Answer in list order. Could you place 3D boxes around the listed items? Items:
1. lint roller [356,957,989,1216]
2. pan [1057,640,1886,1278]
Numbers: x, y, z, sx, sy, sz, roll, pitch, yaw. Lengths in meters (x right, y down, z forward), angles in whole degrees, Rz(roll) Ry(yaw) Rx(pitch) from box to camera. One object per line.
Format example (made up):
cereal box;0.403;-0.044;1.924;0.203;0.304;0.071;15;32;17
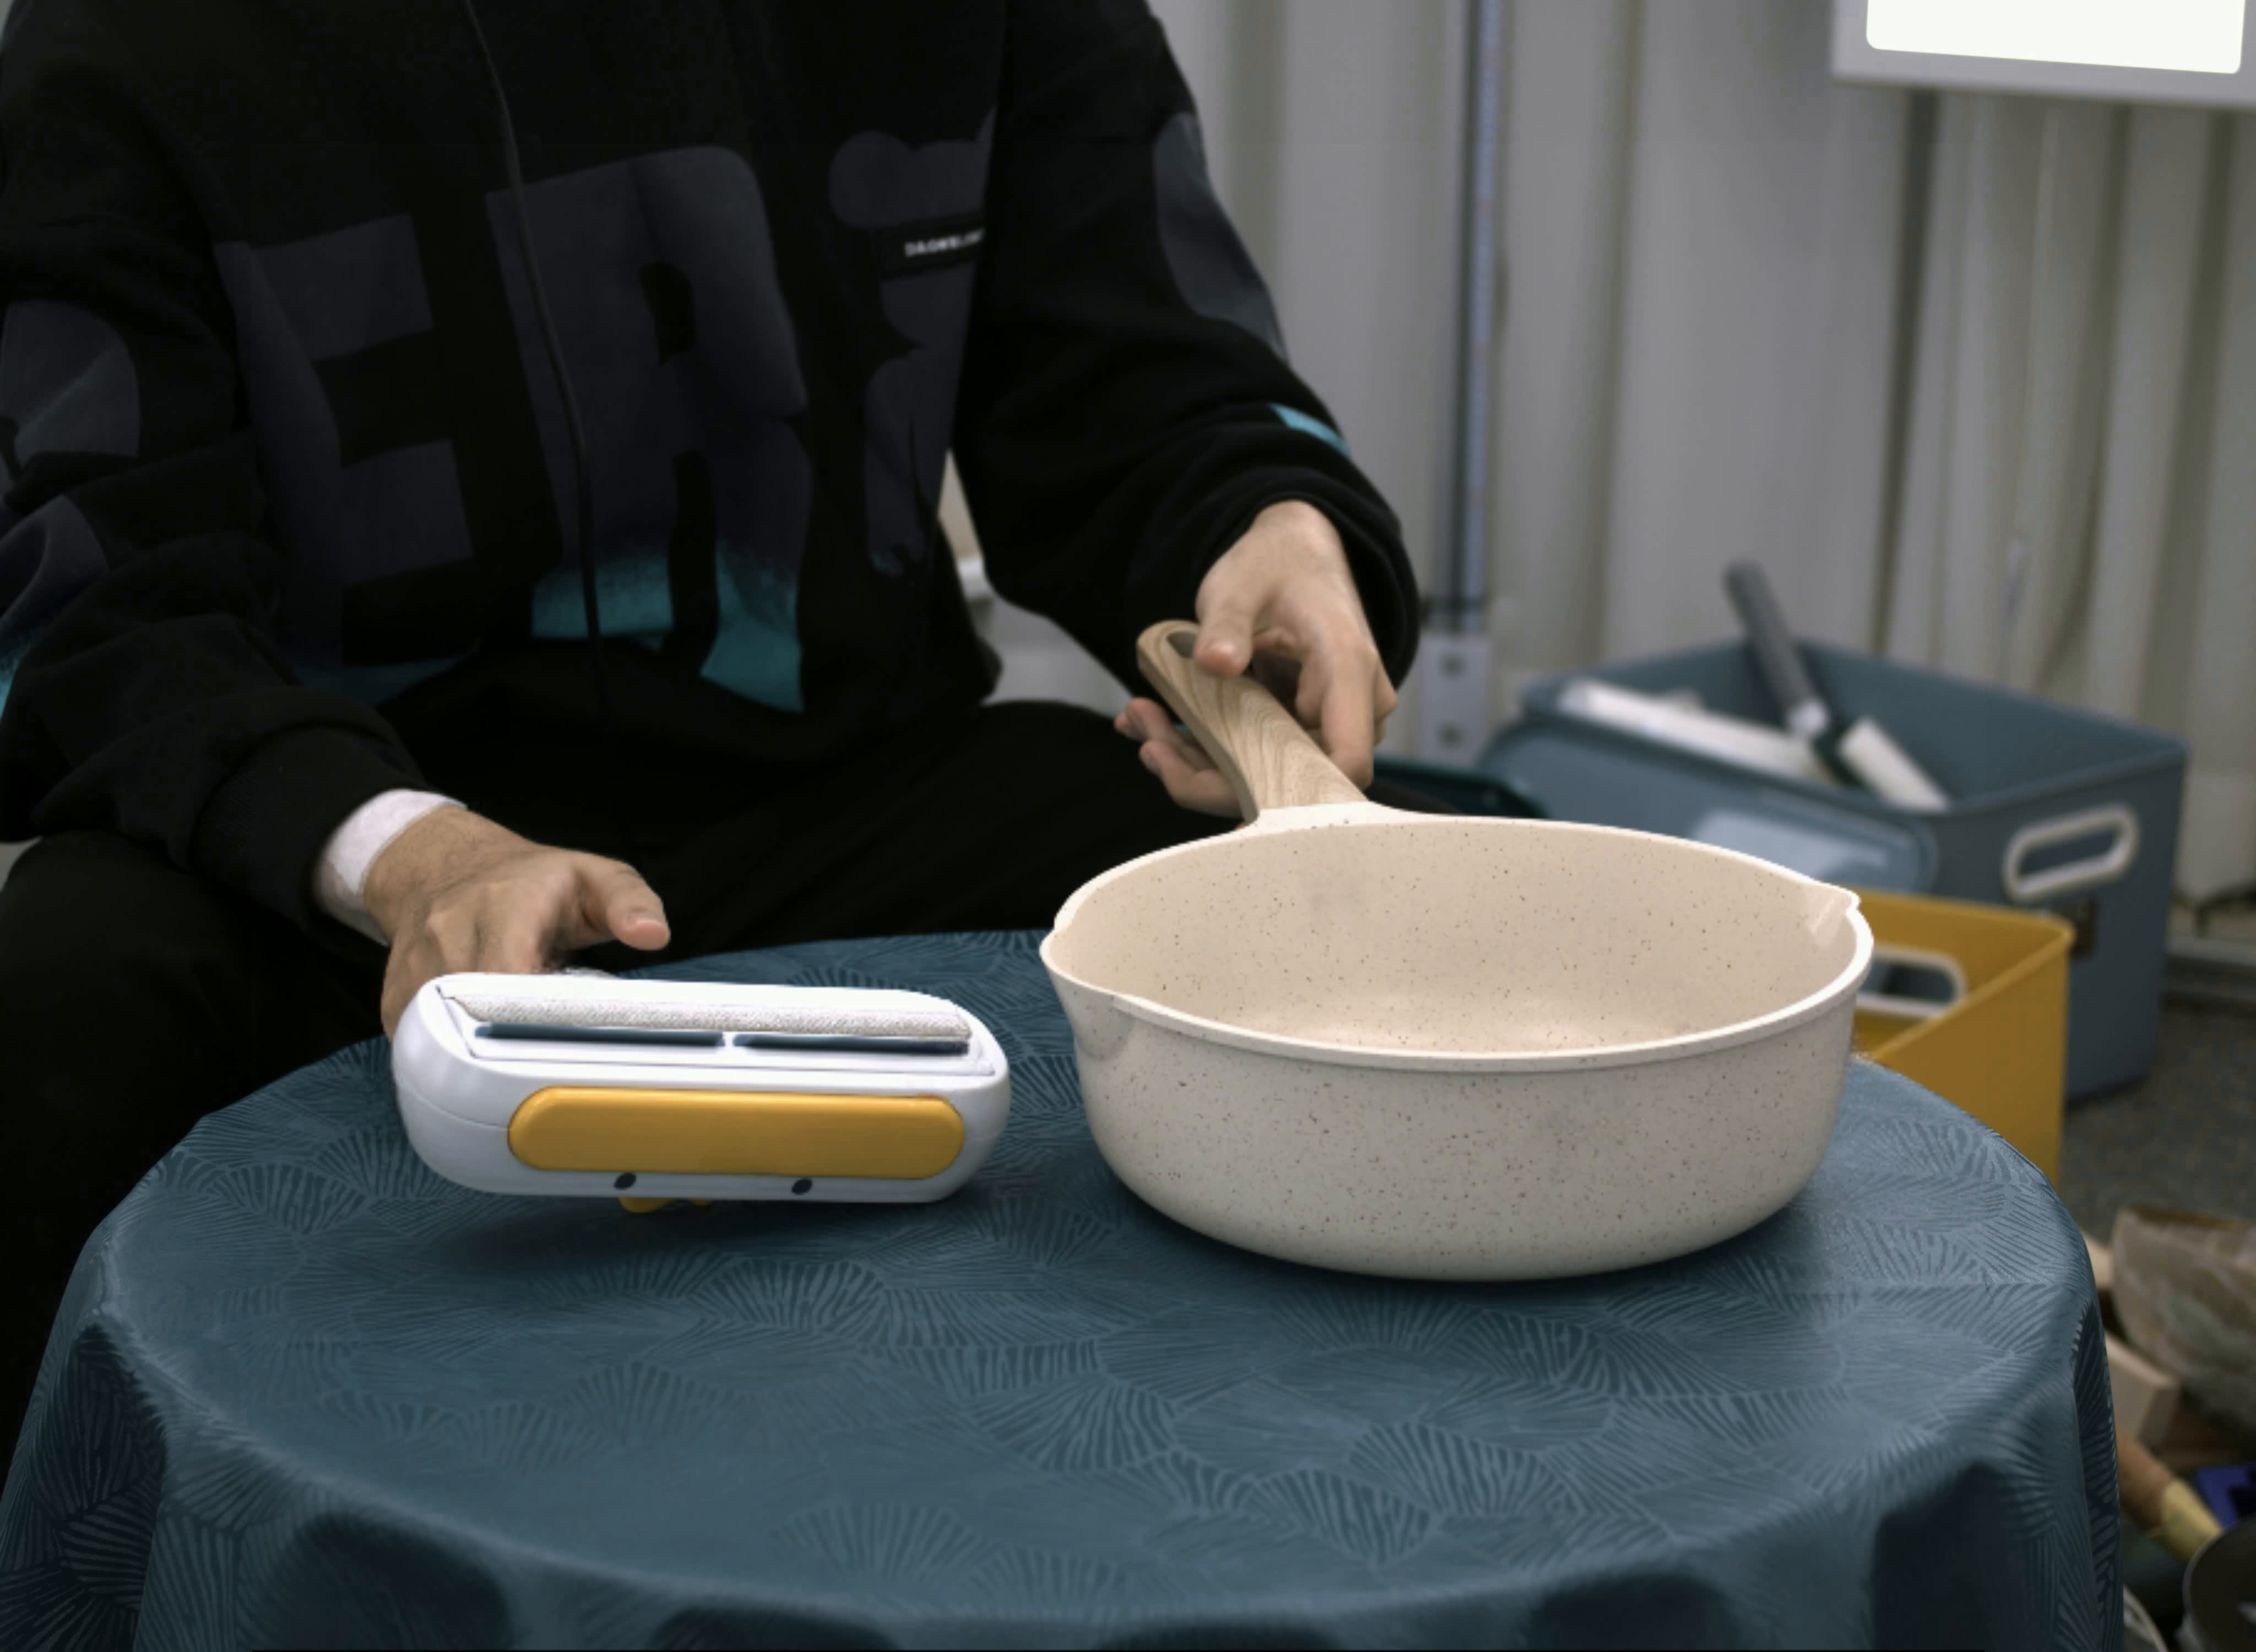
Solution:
lint roller;-0.156;0.066;1.632;0.193;0.075;0.190;0;20;-22
pan;0.080;0.038;1.704;0.264;0.103;0.430;-7;17;-16
